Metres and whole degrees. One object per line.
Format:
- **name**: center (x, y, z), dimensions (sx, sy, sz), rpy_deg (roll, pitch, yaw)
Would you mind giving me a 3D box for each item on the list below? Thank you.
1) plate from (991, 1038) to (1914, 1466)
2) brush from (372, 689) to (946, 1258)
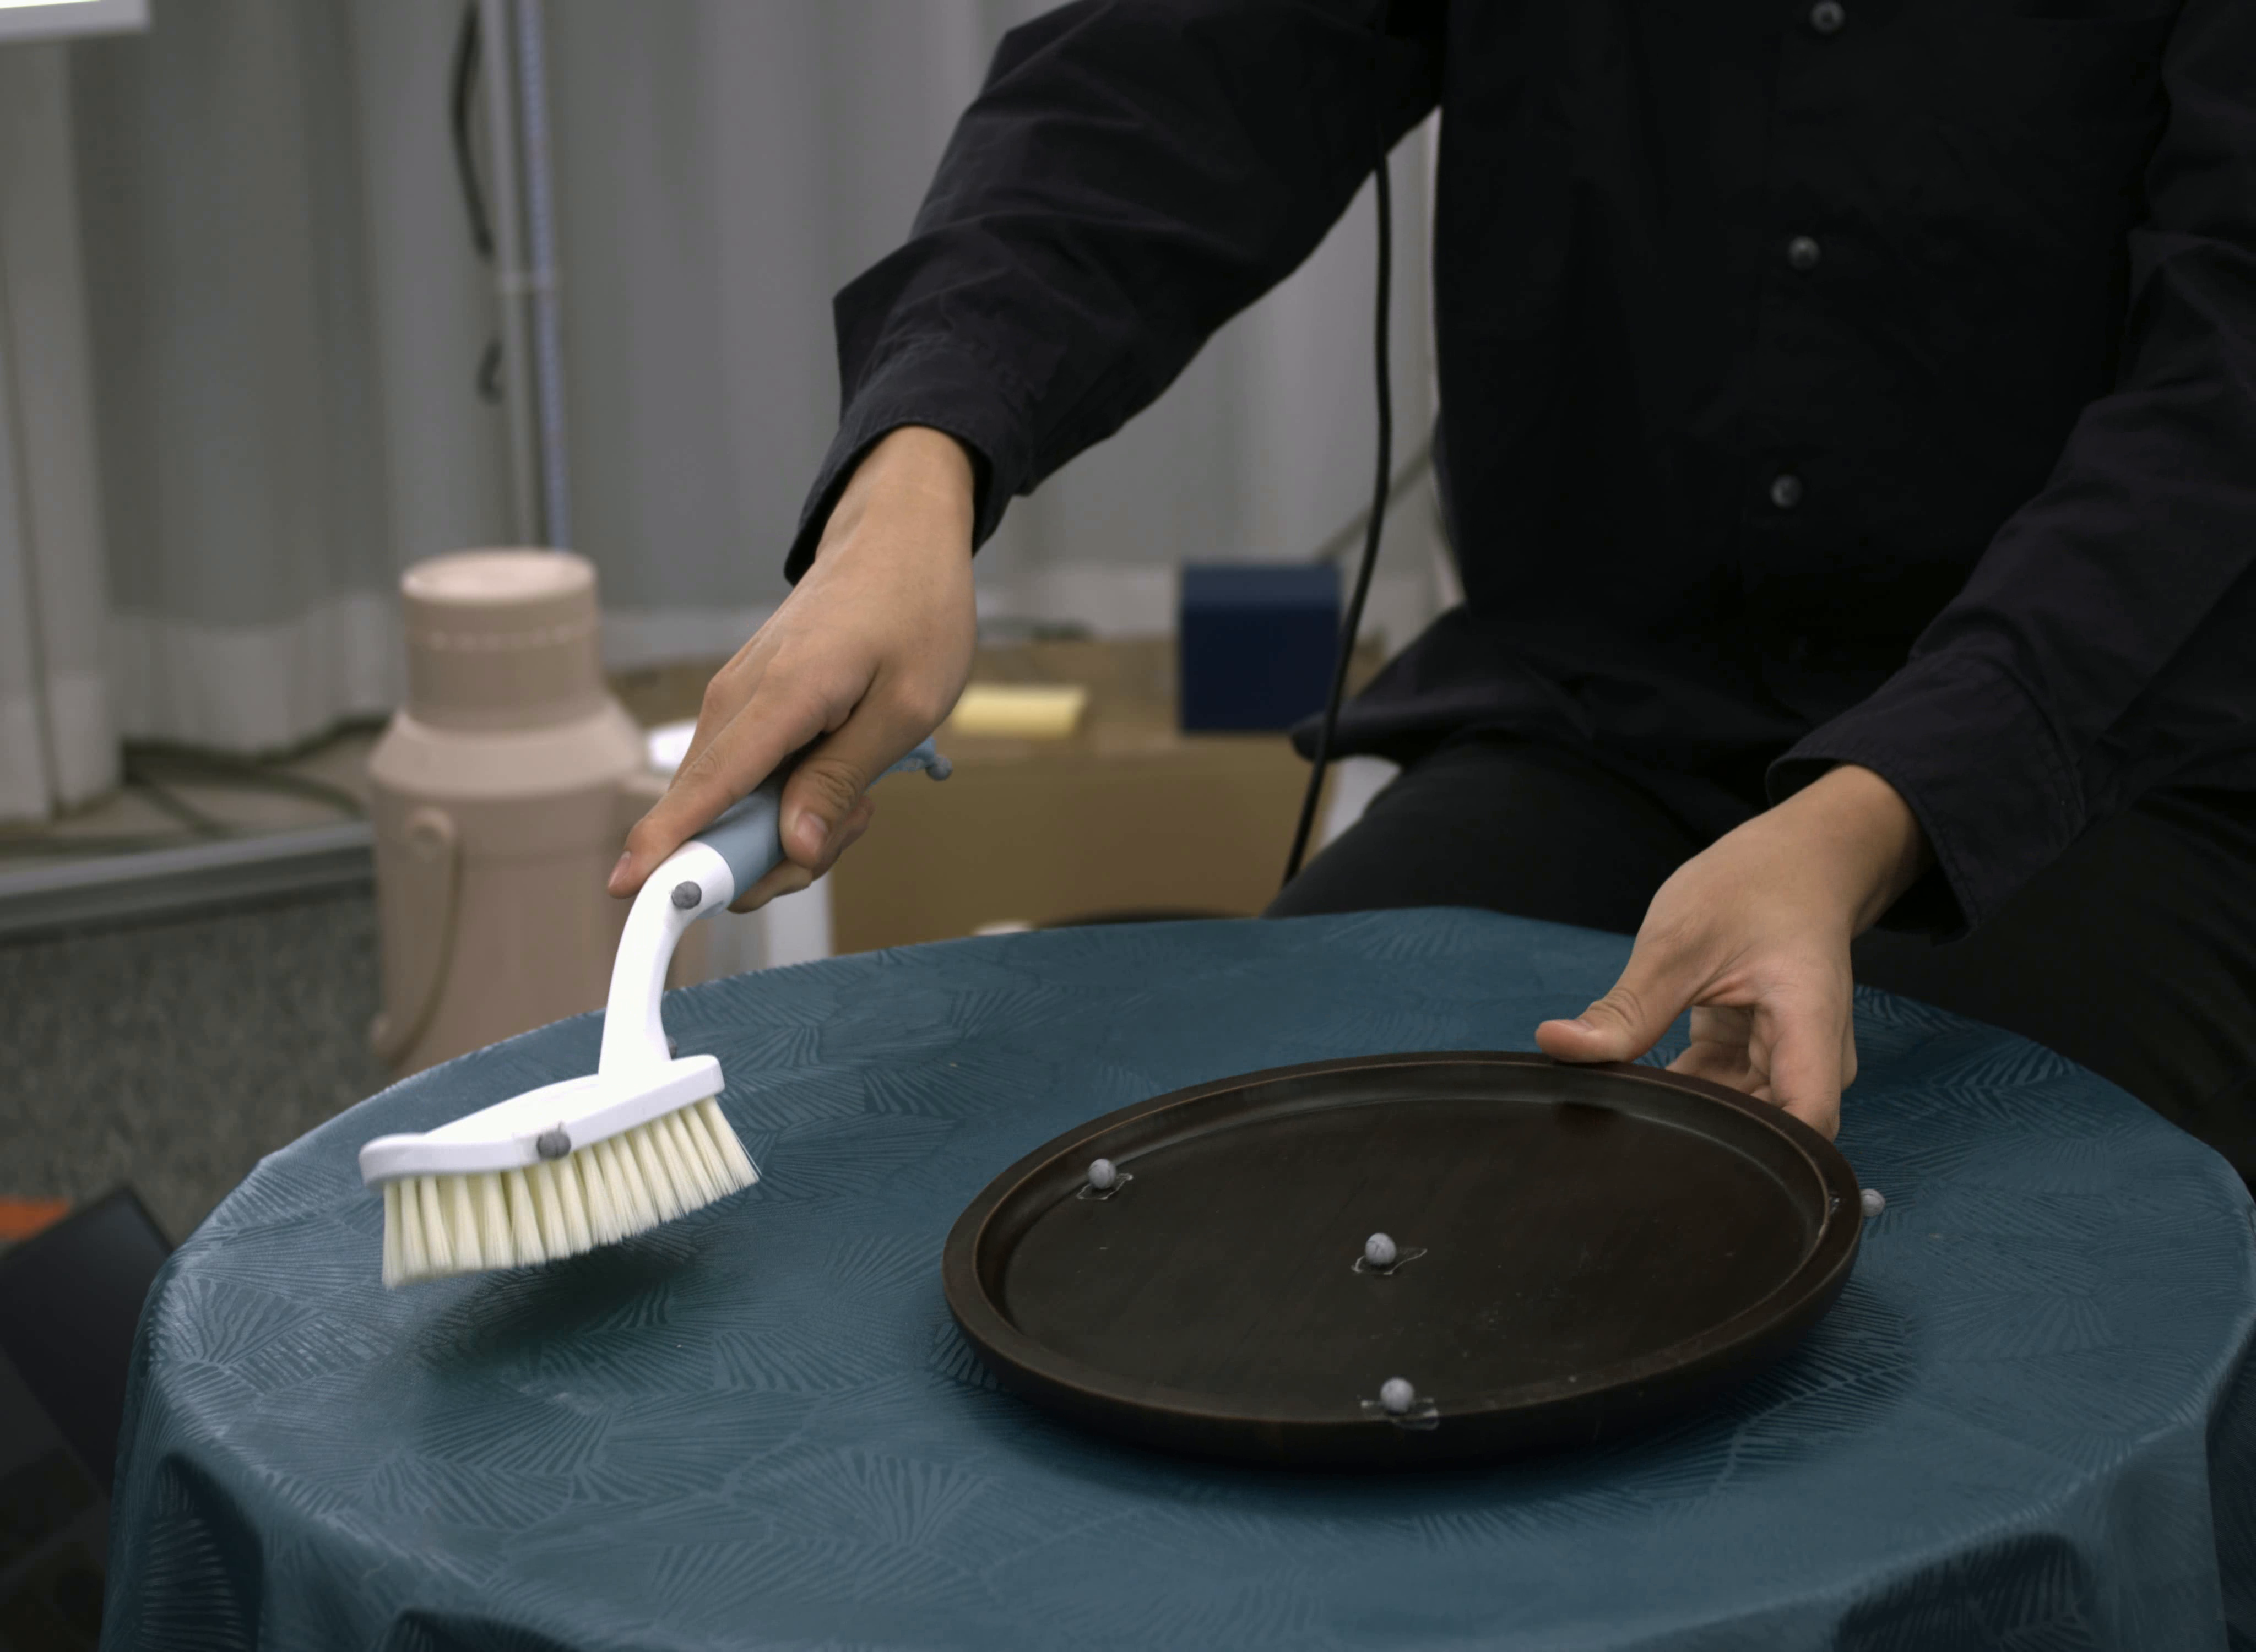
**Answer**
- **plate**: center (0.089, 0.114, 1.452), dimensions (0.254, 0.029, 0.256), rpy_deg (-8, 18, 1)
- **brush**: center (-0.118, 0.057, 1.583), dimensions (0.084, 0.084, 0.321), rpy_deg (24, 31, 15)
